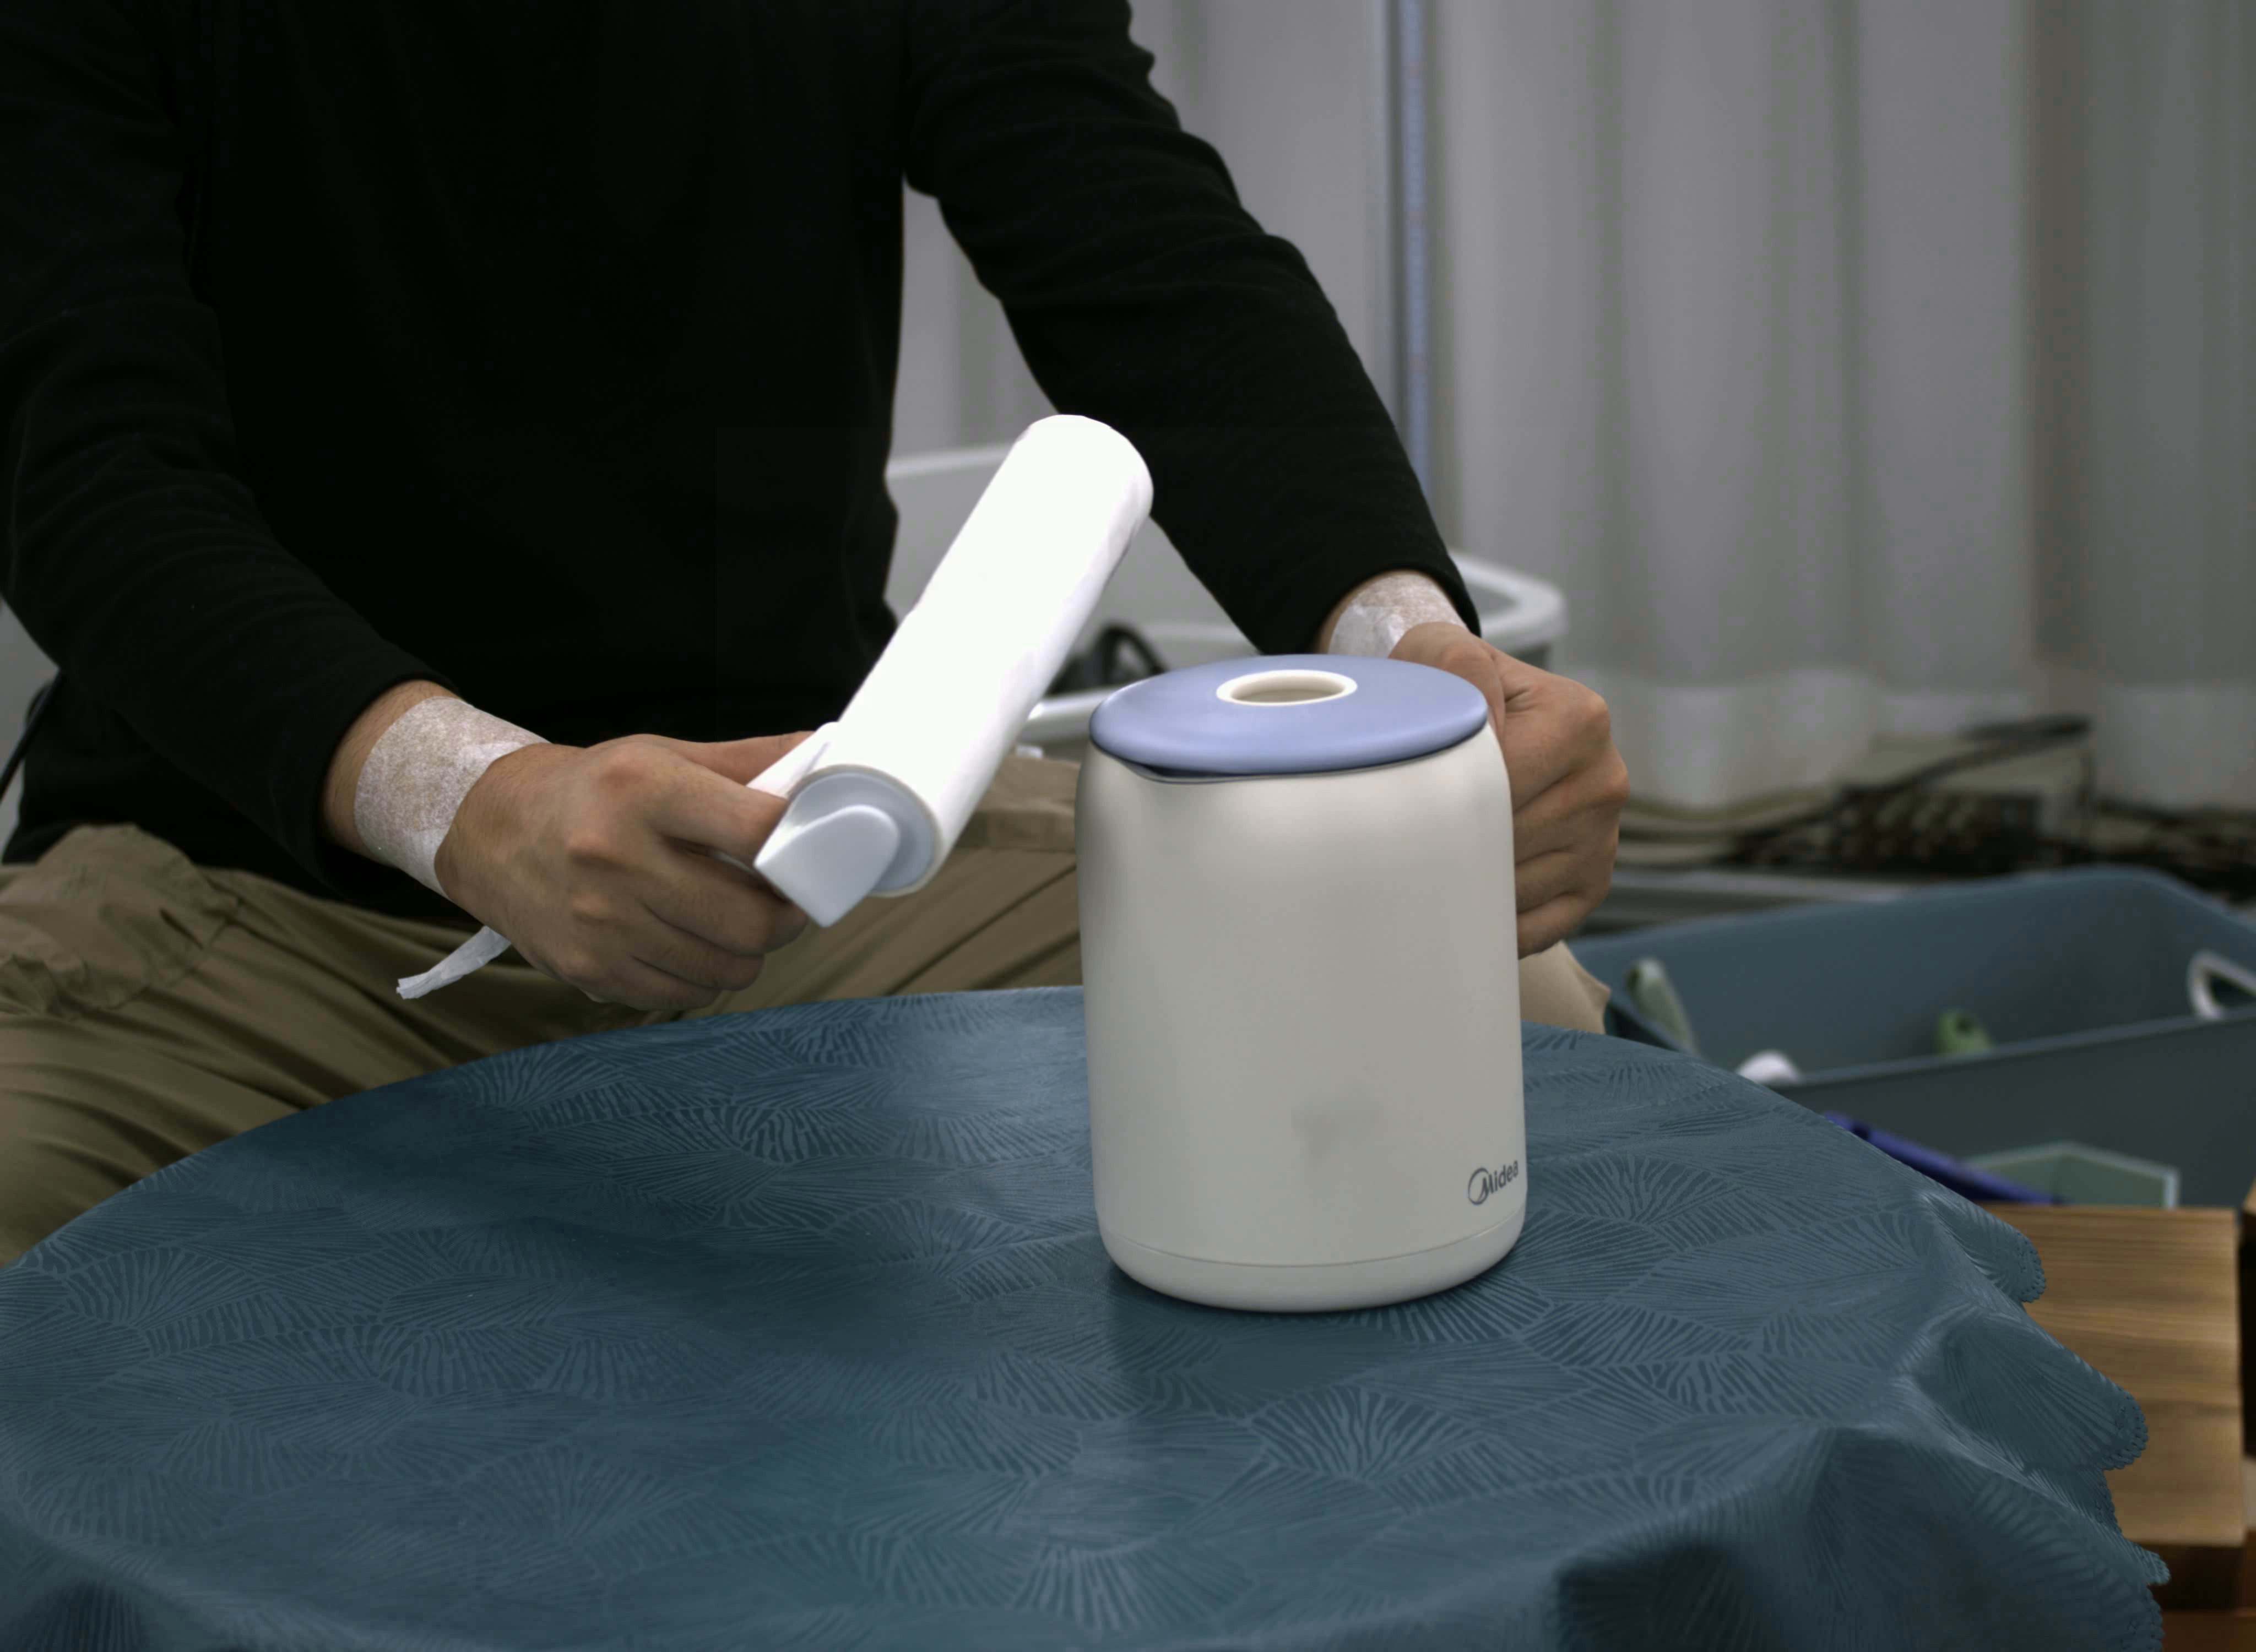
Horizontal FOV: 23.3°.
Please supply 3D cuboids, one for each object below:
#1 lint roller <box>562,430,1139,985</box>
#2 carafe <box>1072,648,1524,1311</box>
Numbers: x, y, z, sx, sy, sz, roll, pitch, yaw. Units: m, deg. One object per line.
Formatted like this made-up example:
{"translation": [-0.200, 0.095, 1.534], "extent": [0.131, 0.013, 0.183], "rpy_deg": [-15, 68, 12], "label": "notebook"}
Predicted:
{"translation": [-0.106, -0.013, 1.669], "extent": [0.224, 0.048, 0.205], "rpy_deg": [-32, 18, 36], "label": "lint roller"}
{"translation": [0.064, 0.039, 1.653], "extent": [0.132, 0.182, 0.191], "rpy_deg": [6, 15, 31], "label": "carafe"}
